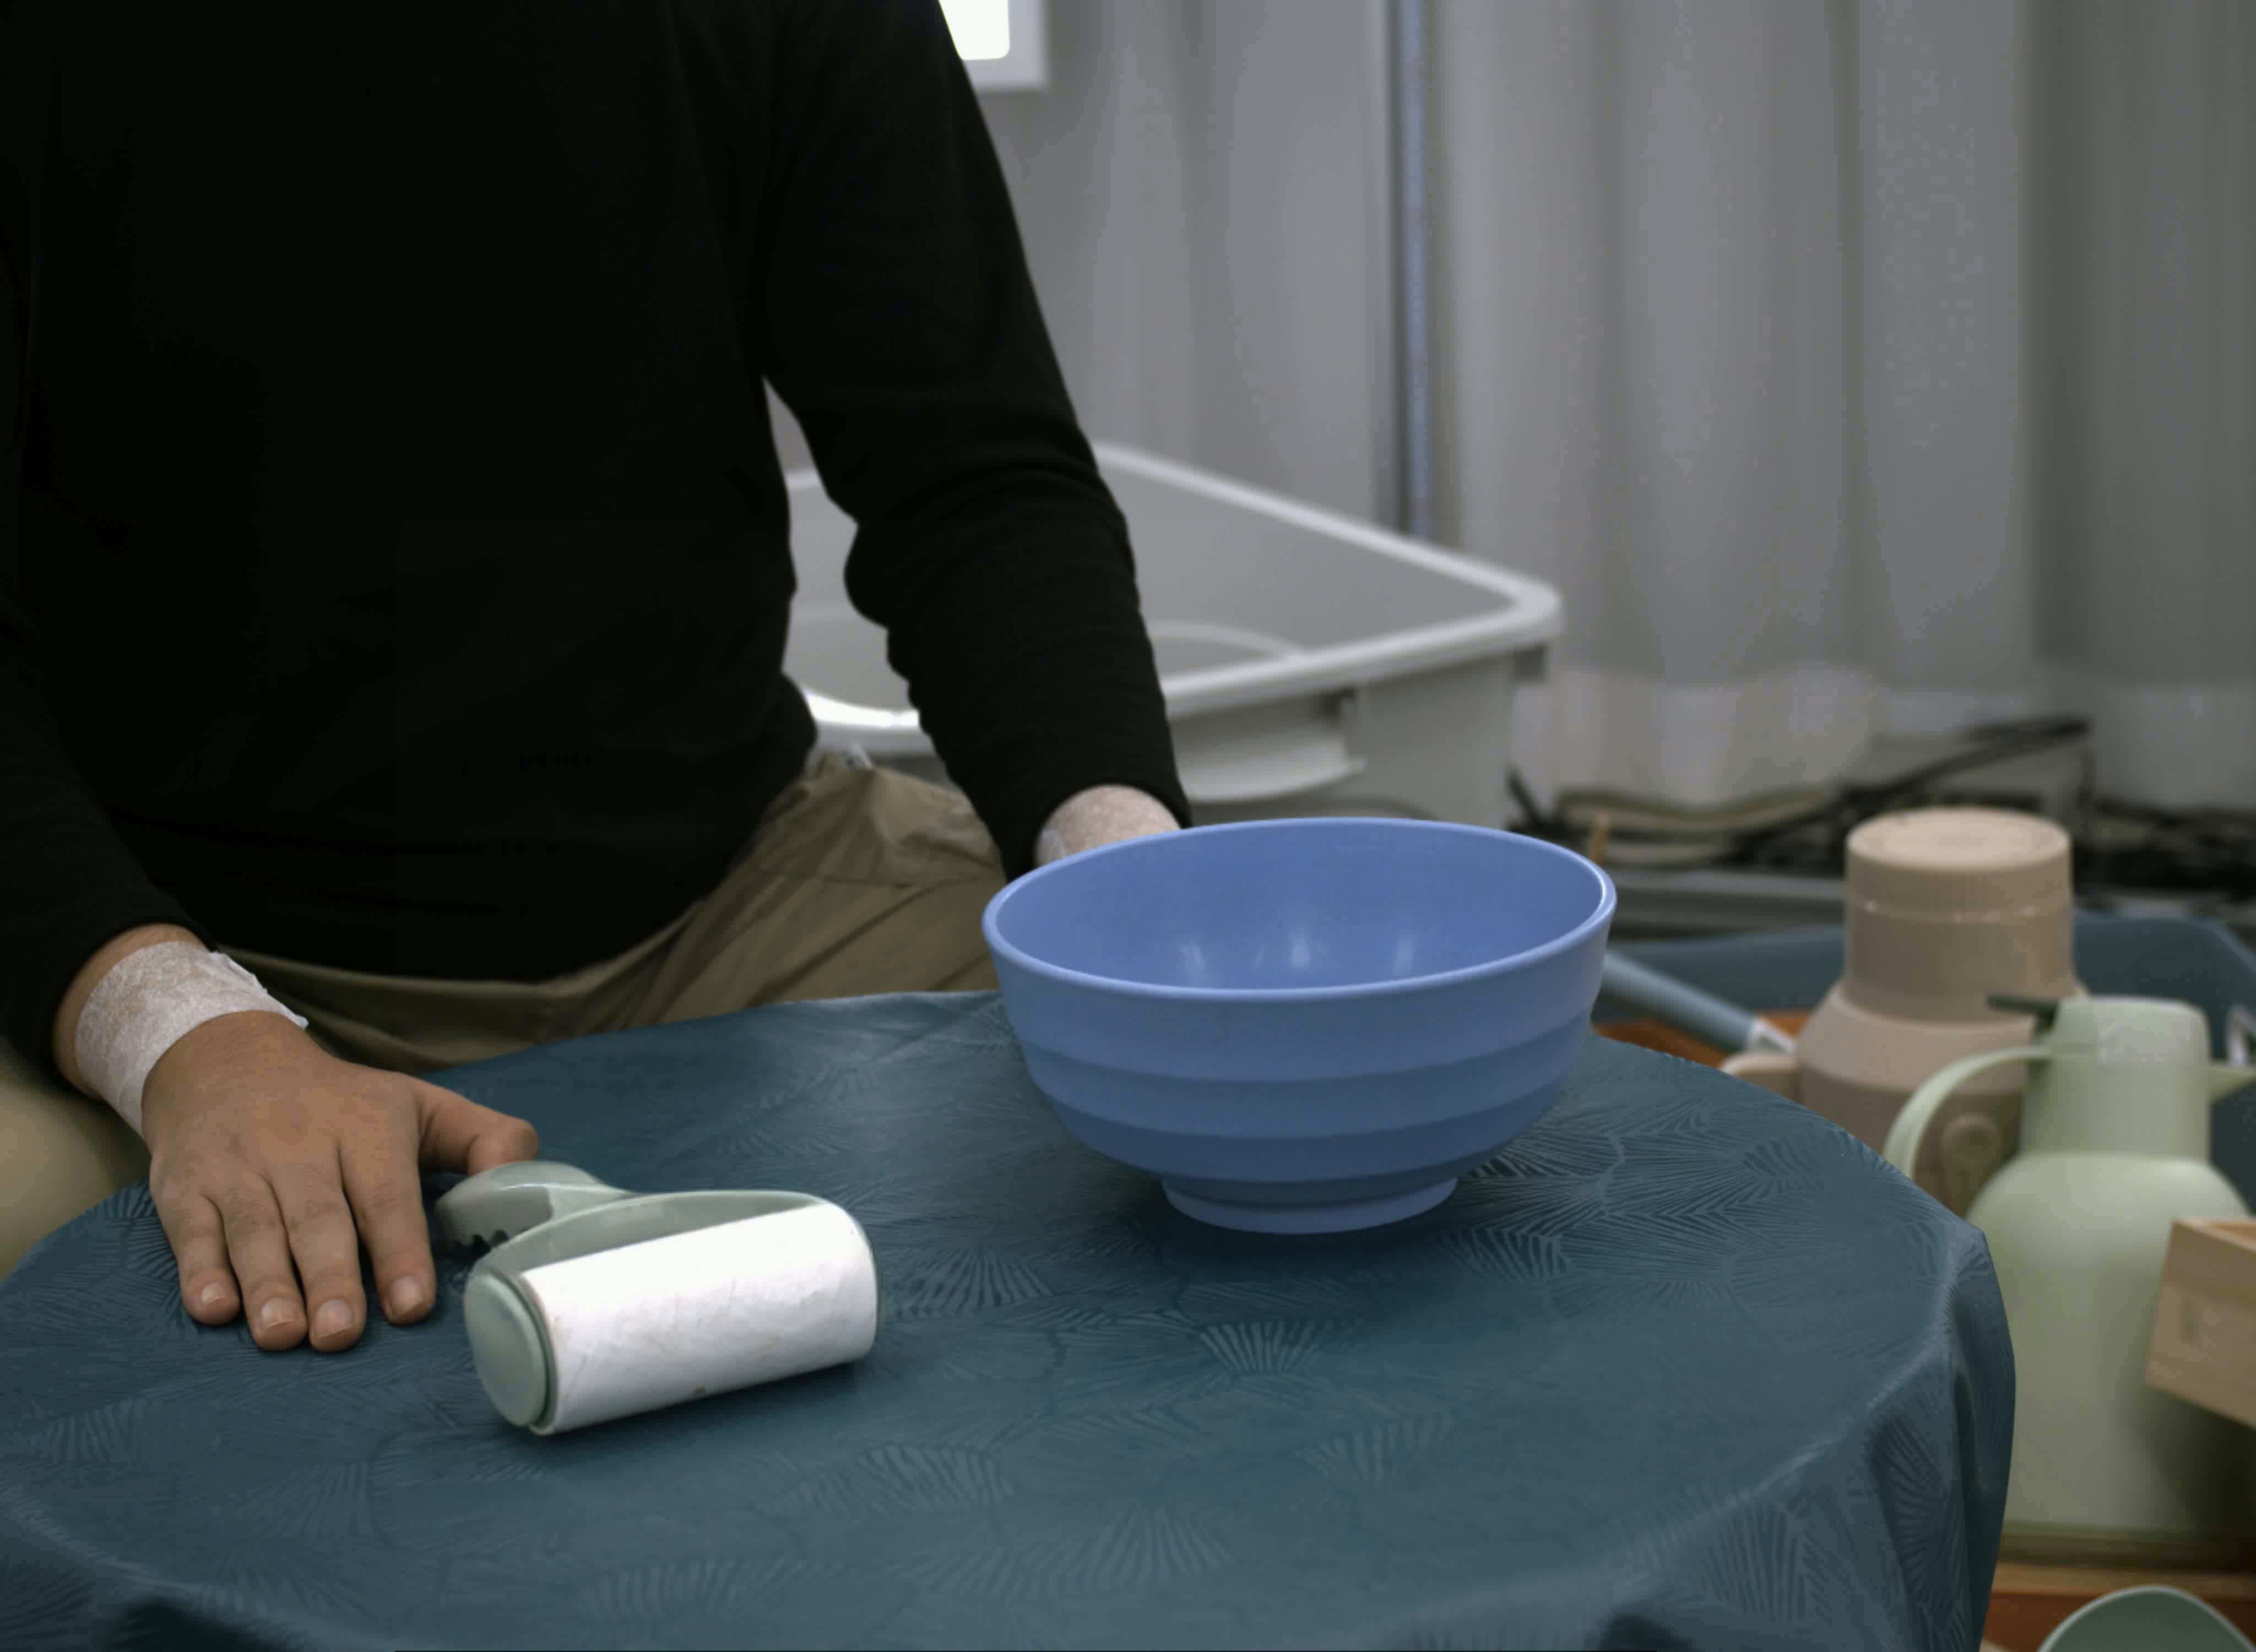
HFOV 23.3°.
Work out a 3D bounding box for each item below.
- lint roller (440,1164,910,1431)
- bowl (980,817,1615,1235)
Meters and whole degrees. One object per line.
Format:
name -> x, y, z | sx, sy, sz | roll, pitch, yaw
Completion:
lint roller -> -0.155, 0.125, 1.619 | 0.116, 0.048, 0.199 | -13, 16, -28
bowl -> 0.055, 0.067, 1.697 | 0.196, 0.095, 0.198 | -4, 15, 1
